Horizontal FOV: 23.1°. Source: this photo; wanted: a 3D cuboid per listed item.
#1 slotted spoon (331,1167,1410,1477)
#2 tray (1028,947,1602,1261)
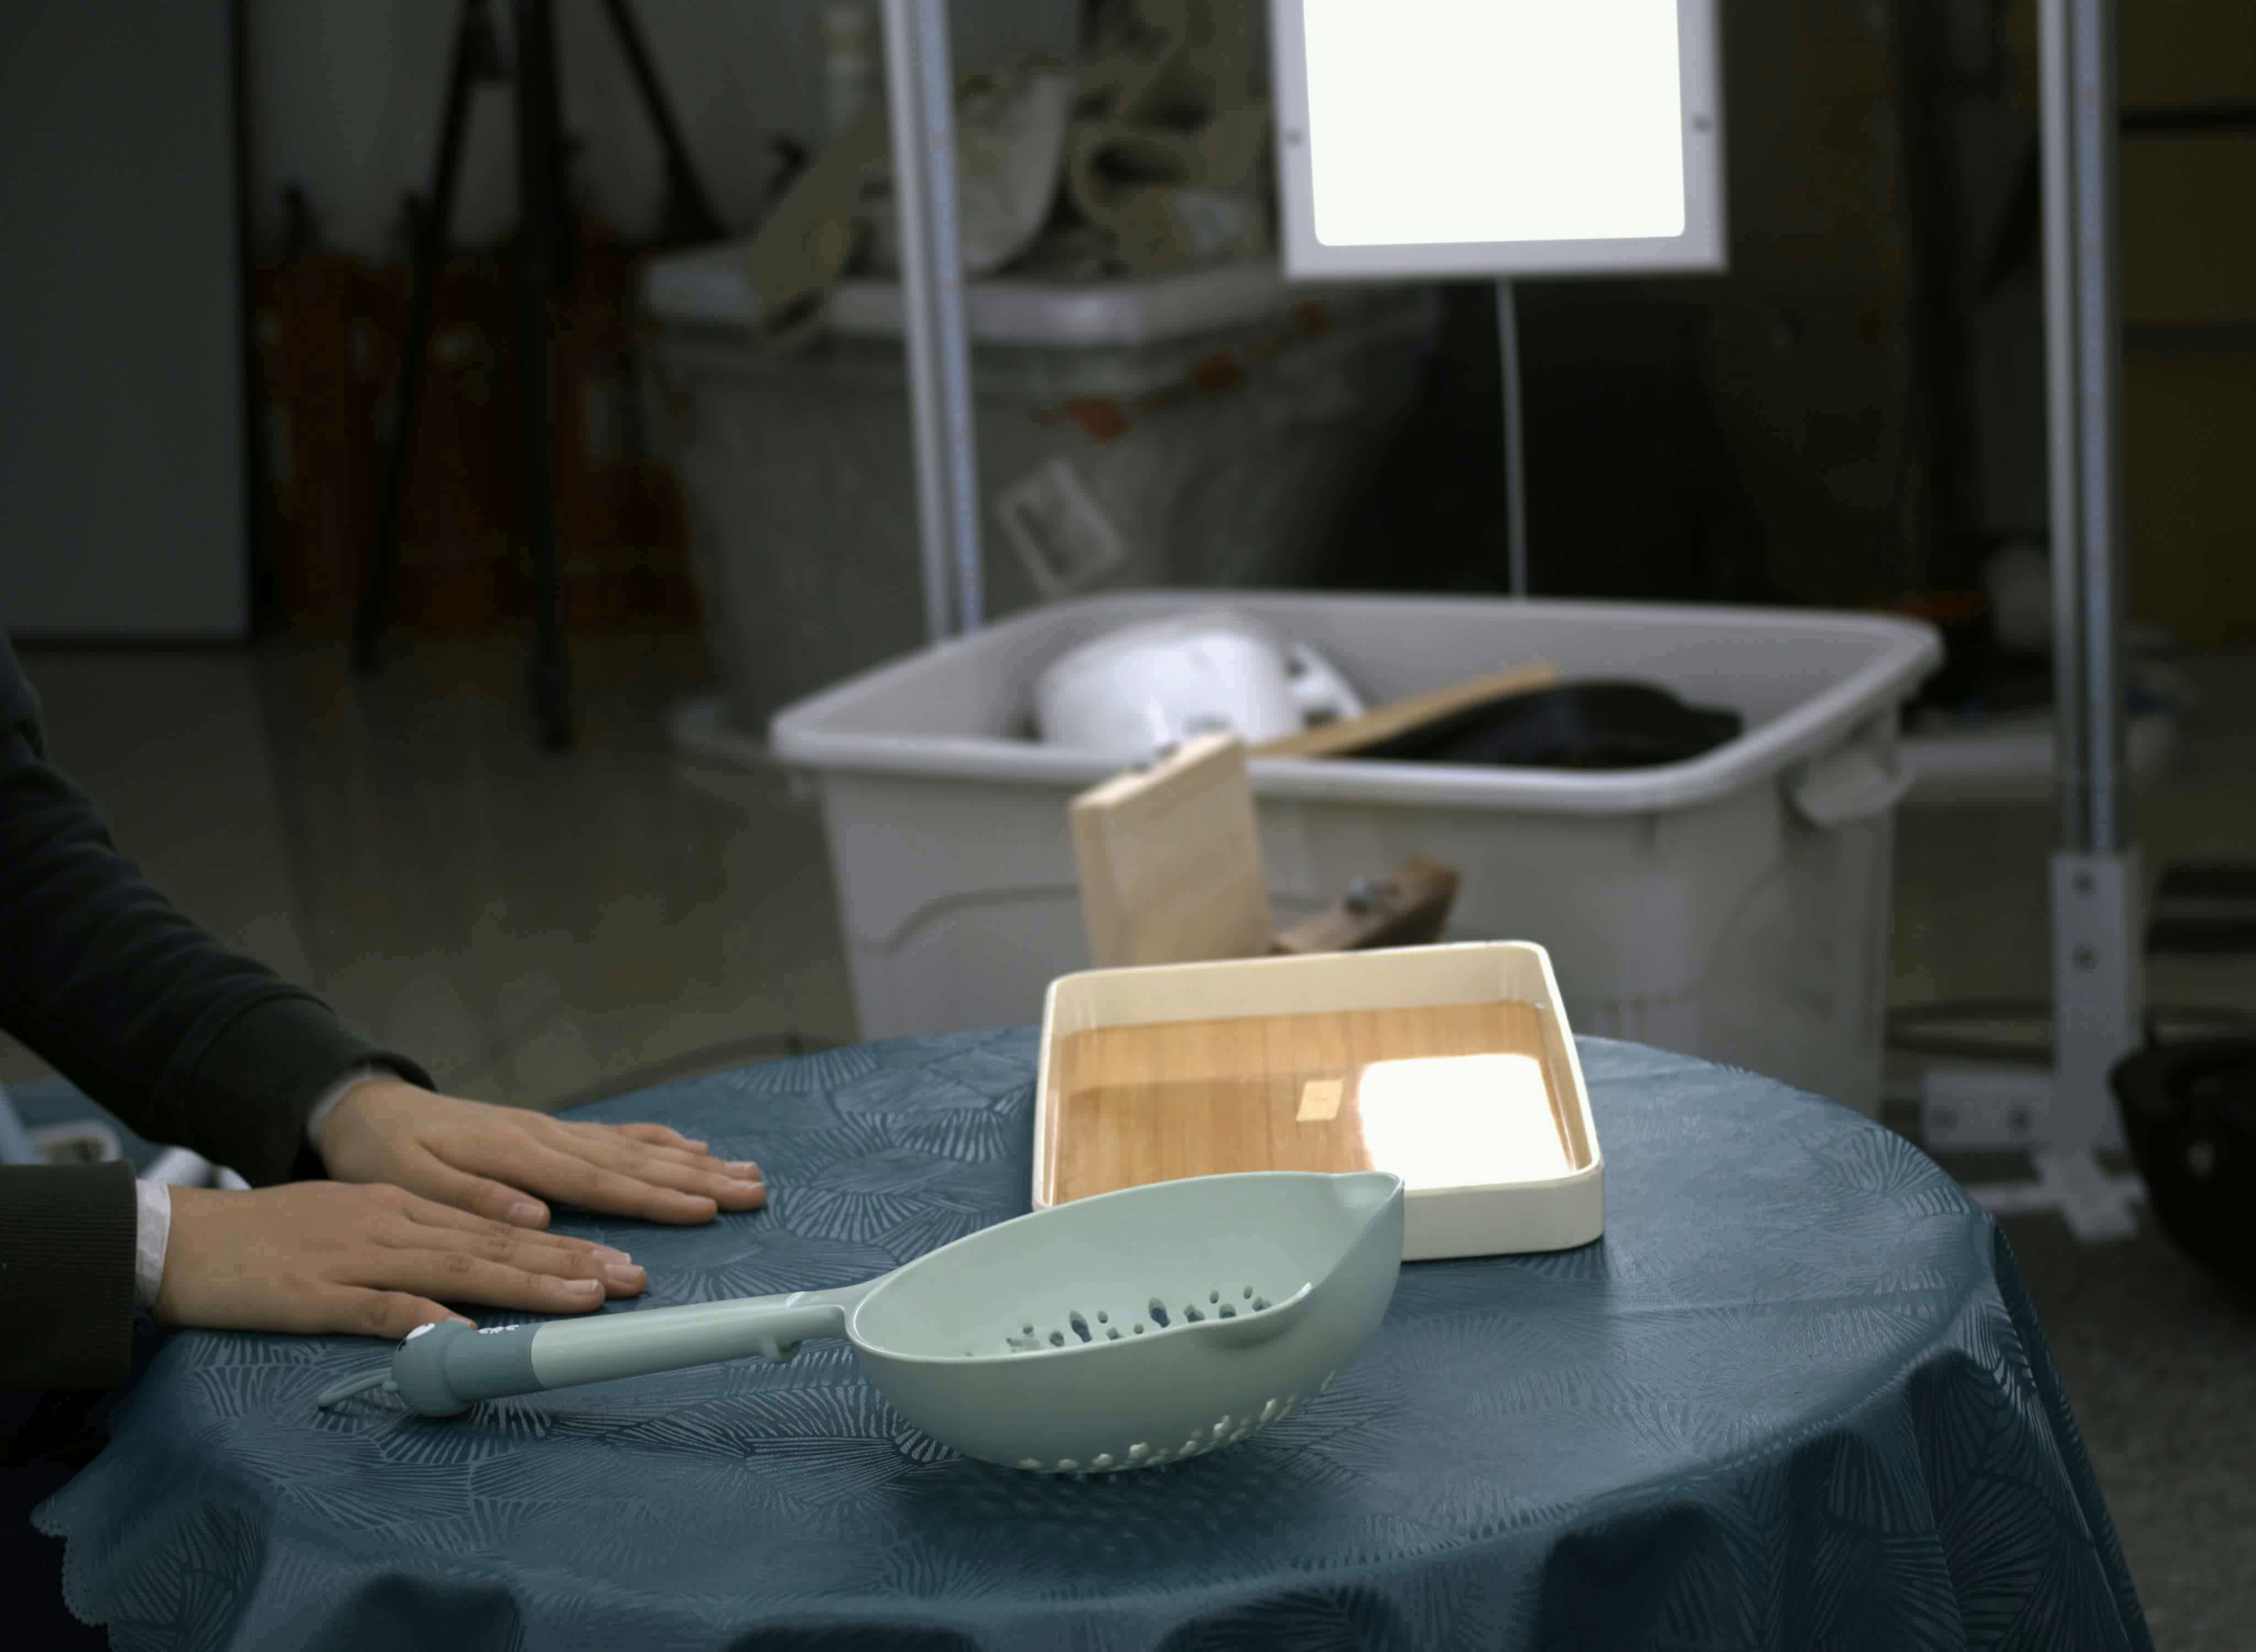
[{"bbox_3d":[-0.087,0.153,1.681,0.364,0.075,0.166,1,14,22],"label":"slotted spoon"},{"bbox_3d":[0.063,0.098,1.938,0.191,0.027,0.299,-4,13,2],"label":"tray"}]
